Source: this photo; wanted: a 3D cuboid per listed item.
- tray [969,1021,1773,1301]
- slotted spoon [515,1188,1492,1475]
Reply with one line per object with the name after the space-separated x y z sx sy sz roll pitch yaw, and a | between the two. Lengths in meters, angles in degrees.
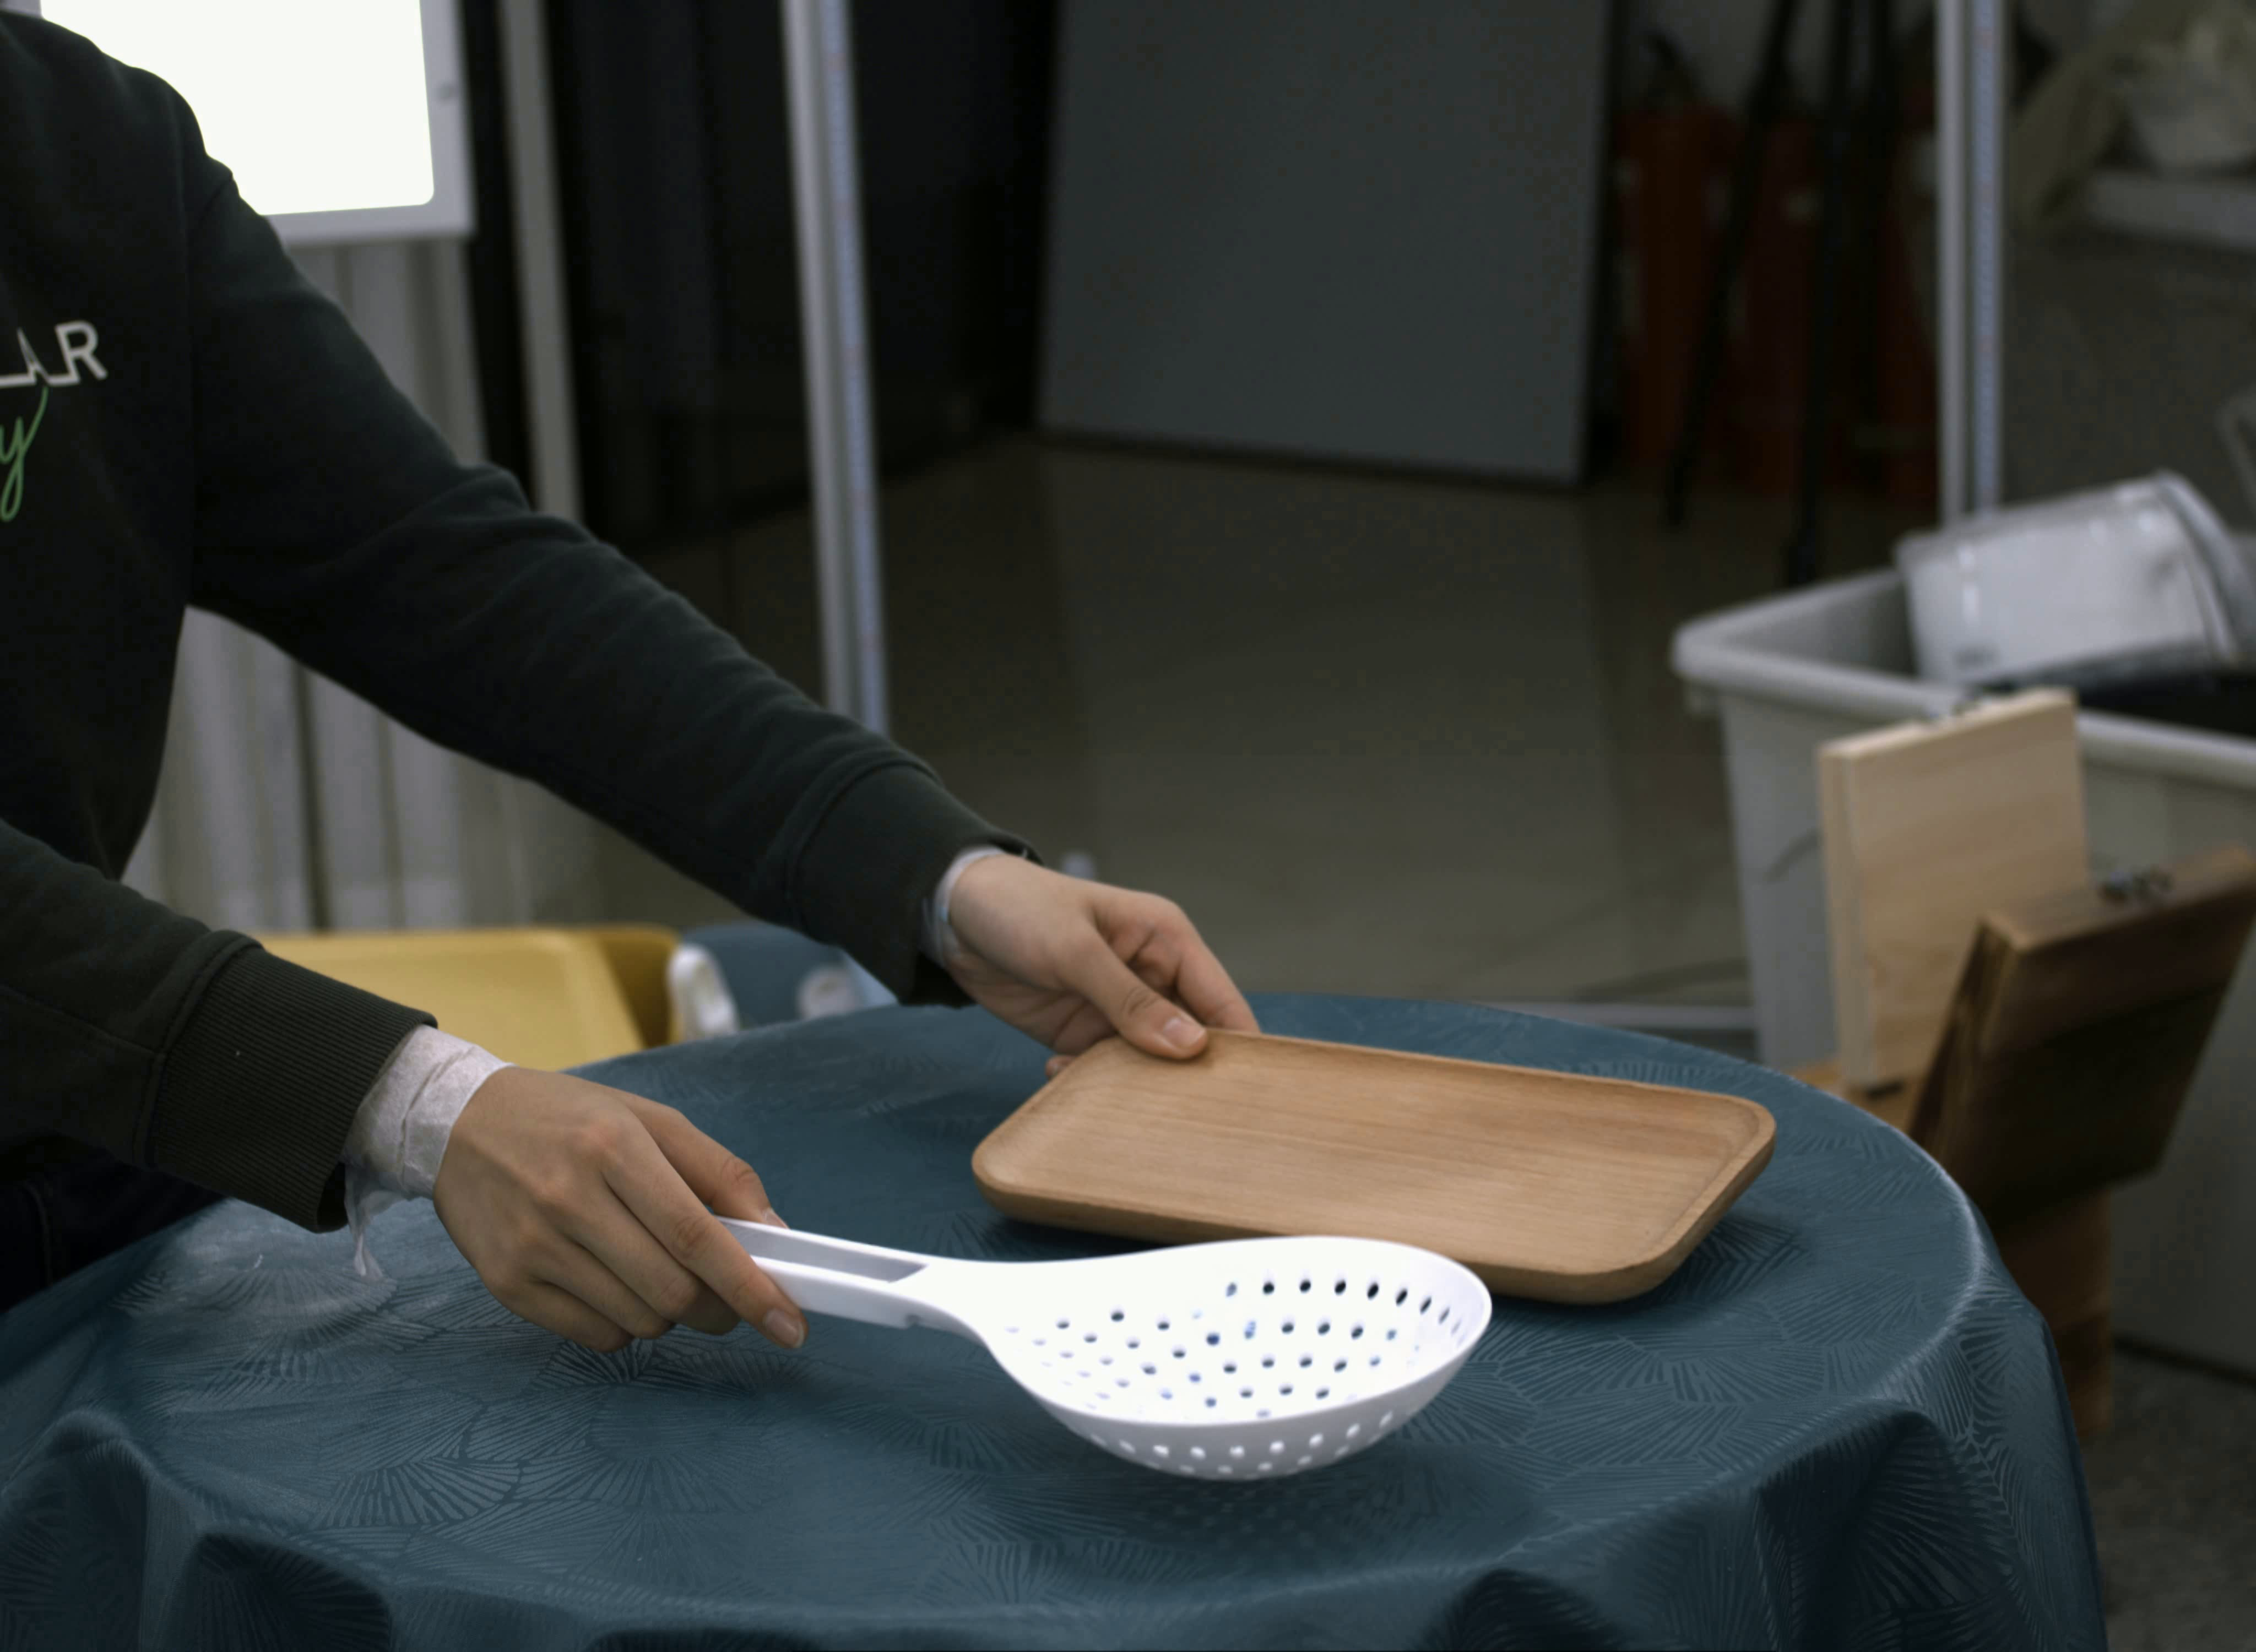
0.076 0.106 1.717 0.252 0.023 0.129 5 24 32 | tray
-0.048 0.136 1.569 0.352 0.046 0.133 11 23 38 | slotted spoon
